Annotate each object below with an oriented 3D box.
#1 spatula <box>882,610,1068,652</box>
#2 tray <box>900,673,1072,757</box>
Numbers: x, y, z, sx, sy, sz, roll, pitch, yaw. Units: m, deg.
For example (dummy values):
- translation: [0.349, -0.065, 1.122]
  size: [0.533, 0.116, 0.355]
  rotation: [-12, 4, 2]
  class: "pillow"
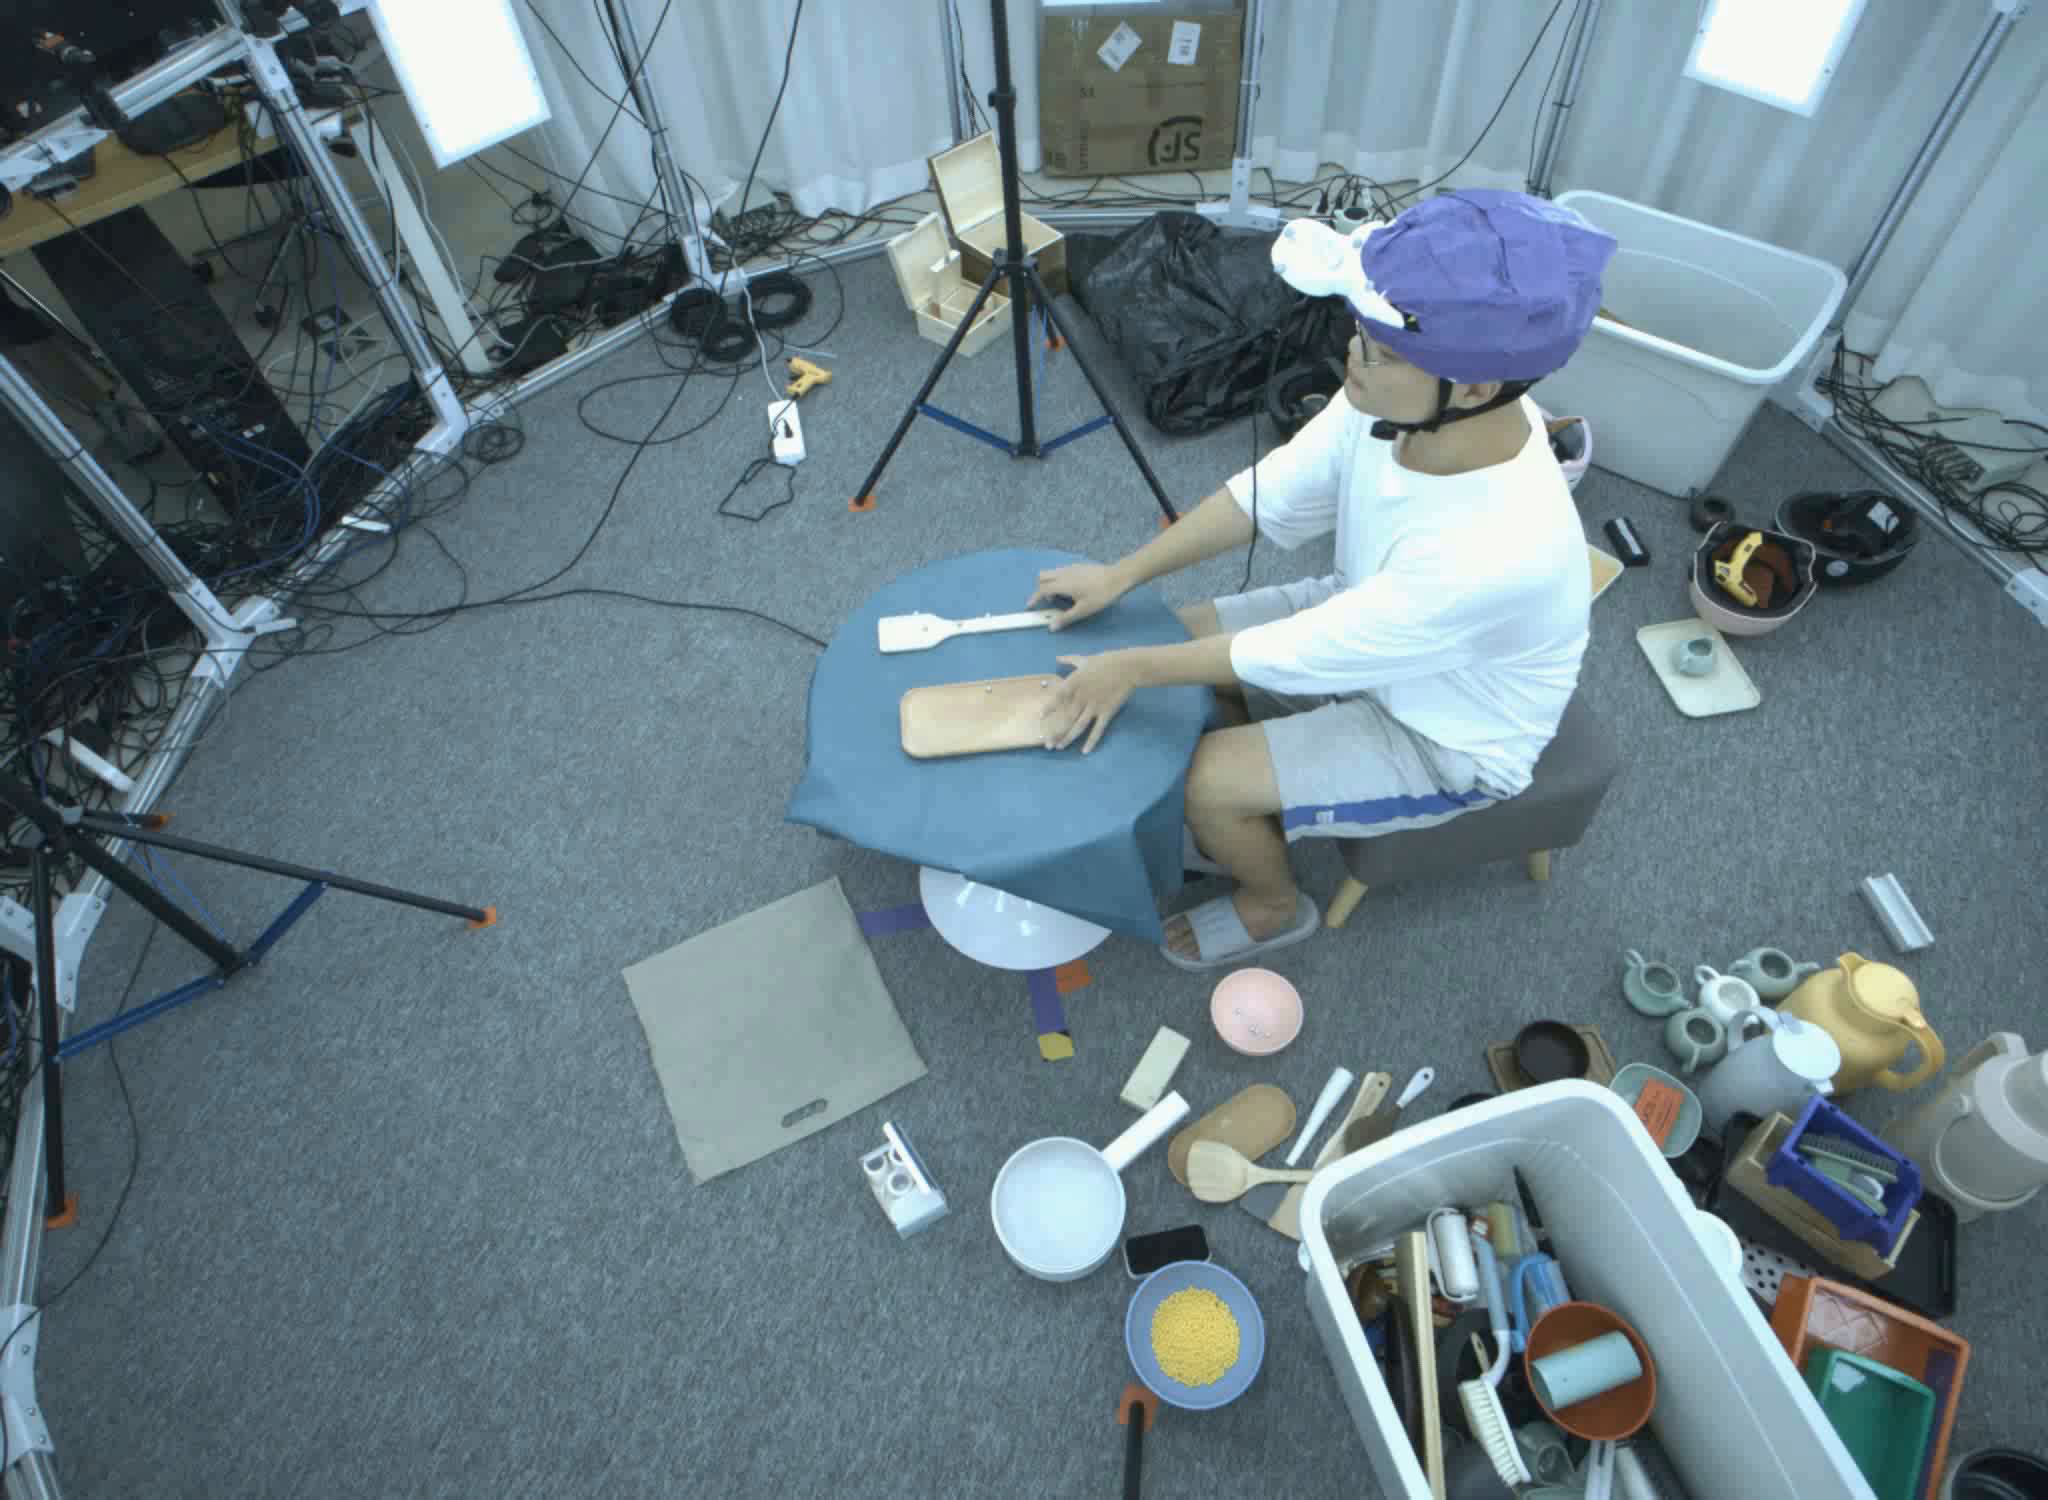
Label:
- translation: [-0.077, -0.195, 1.921]
  size: [0.294, 0.011, 0.071]
  rotation: [-6, 54, -3]
  class: "spatula"
- translation: [-0.058, -0.051, 1.813]
  size: [0.251, 0.023, 0.129]
  rotation: [-5, 52, -2]
  class: "tray"
